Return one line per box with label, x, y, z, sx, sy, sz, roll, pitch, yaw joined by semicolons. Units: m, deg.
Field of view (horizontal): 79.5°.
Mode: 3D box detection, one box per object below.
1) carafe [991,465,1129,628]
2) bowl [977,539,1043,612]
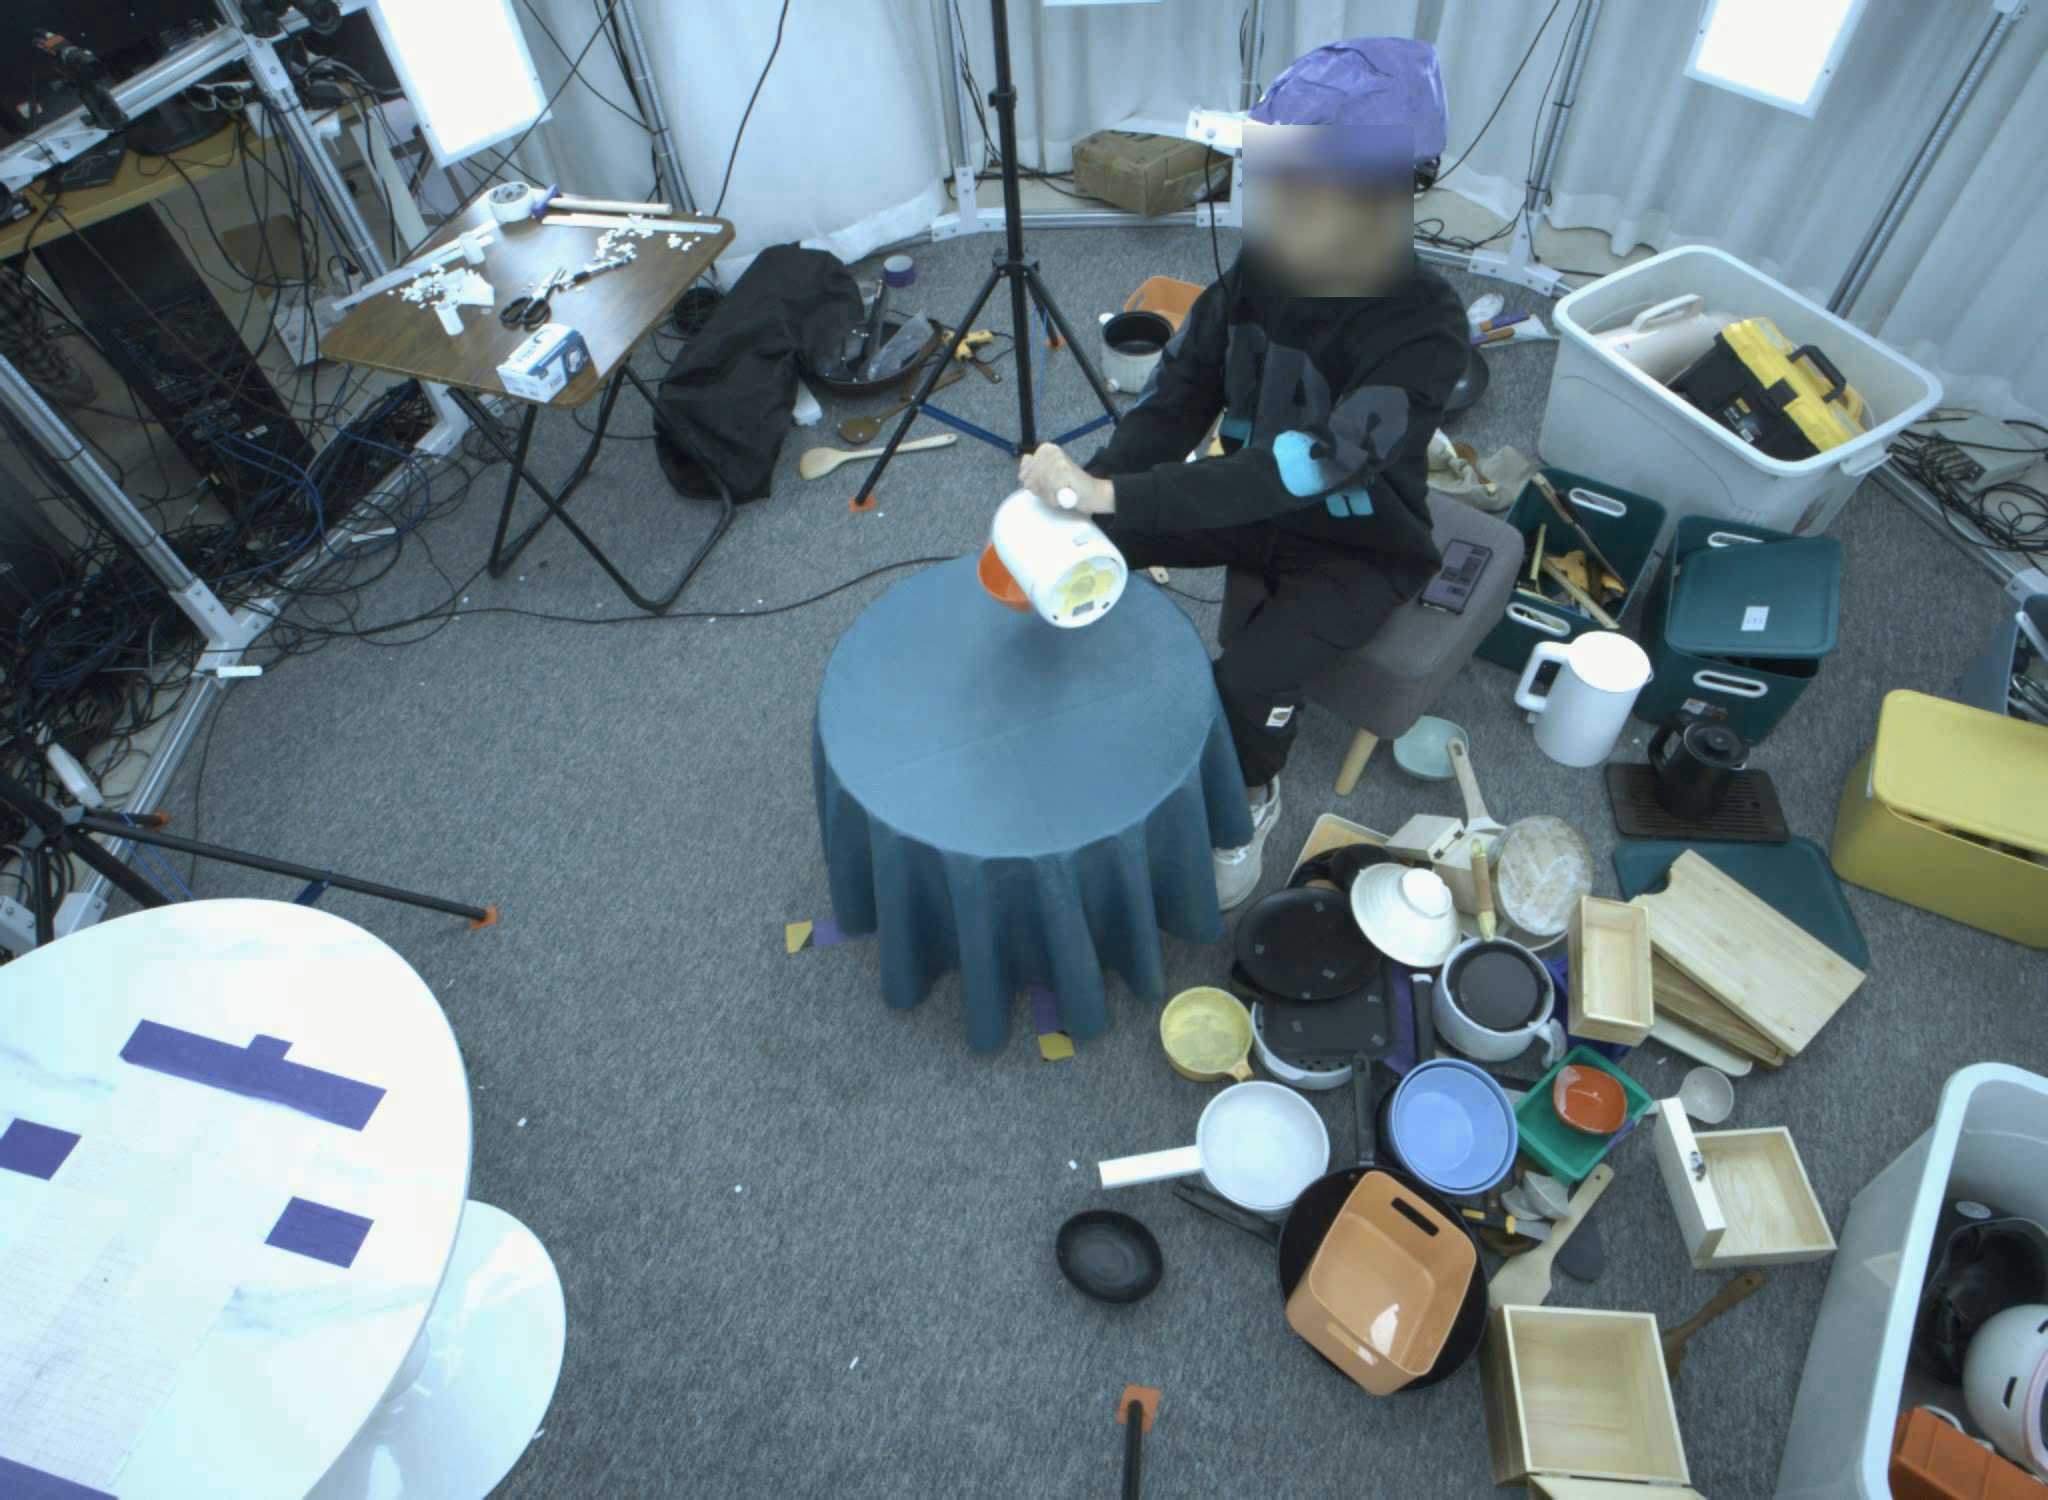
carafe;0.046;-0.279;1.626;0.134;0.192;0.179;-21;55;-20
bowl;0.006;-0.253;1.821;0.148;0.105;0.147;-1;64;3
